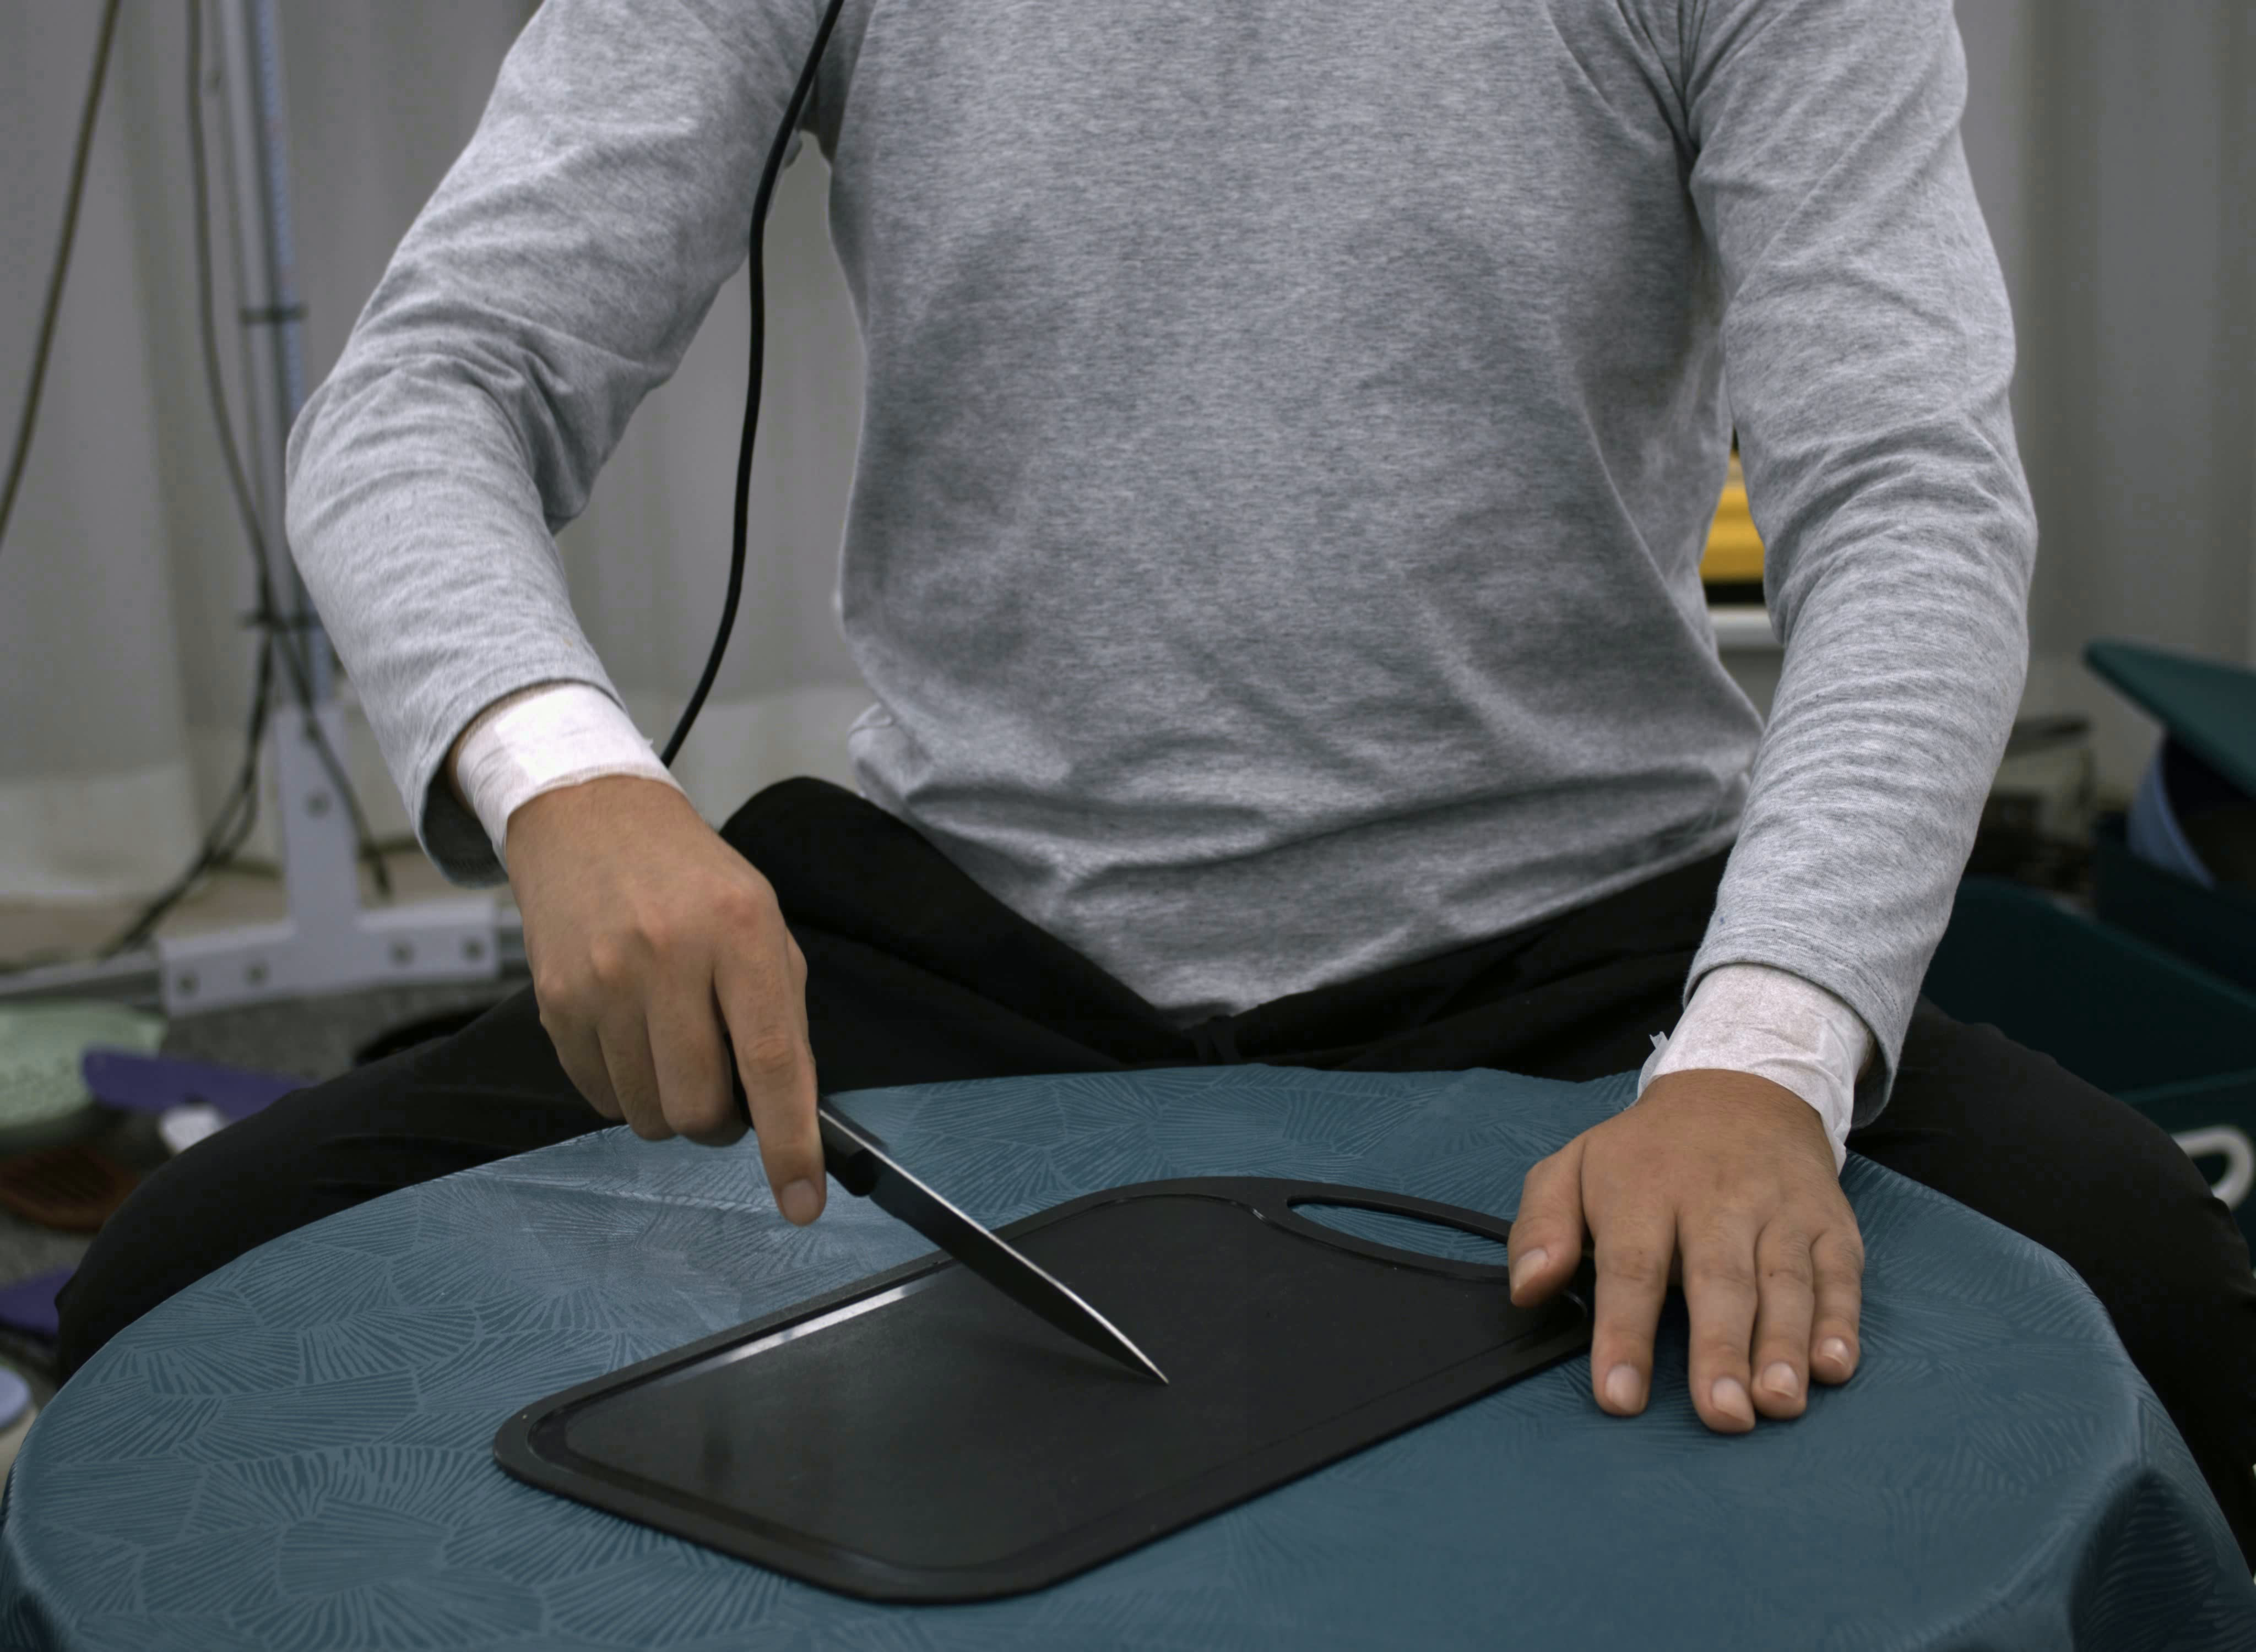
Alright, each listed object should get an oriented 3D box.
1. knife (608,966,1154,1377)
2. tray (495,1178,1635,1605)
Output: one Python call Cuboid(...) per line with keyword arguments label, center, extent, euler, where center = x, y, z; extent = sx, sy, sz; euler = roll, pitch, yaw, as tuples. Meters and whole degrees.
Cuboid(label="knife", center=(-0.072, 0.103, 1.608), extent=(0.016, 0.024, 0.240), euler=(-29, 49, -35))
Cuboid(label="tray", center=(-0.009, 0.152, 1.566), extent=(0.212, 0.010, 0.325), euler=(12, 21, 44))
